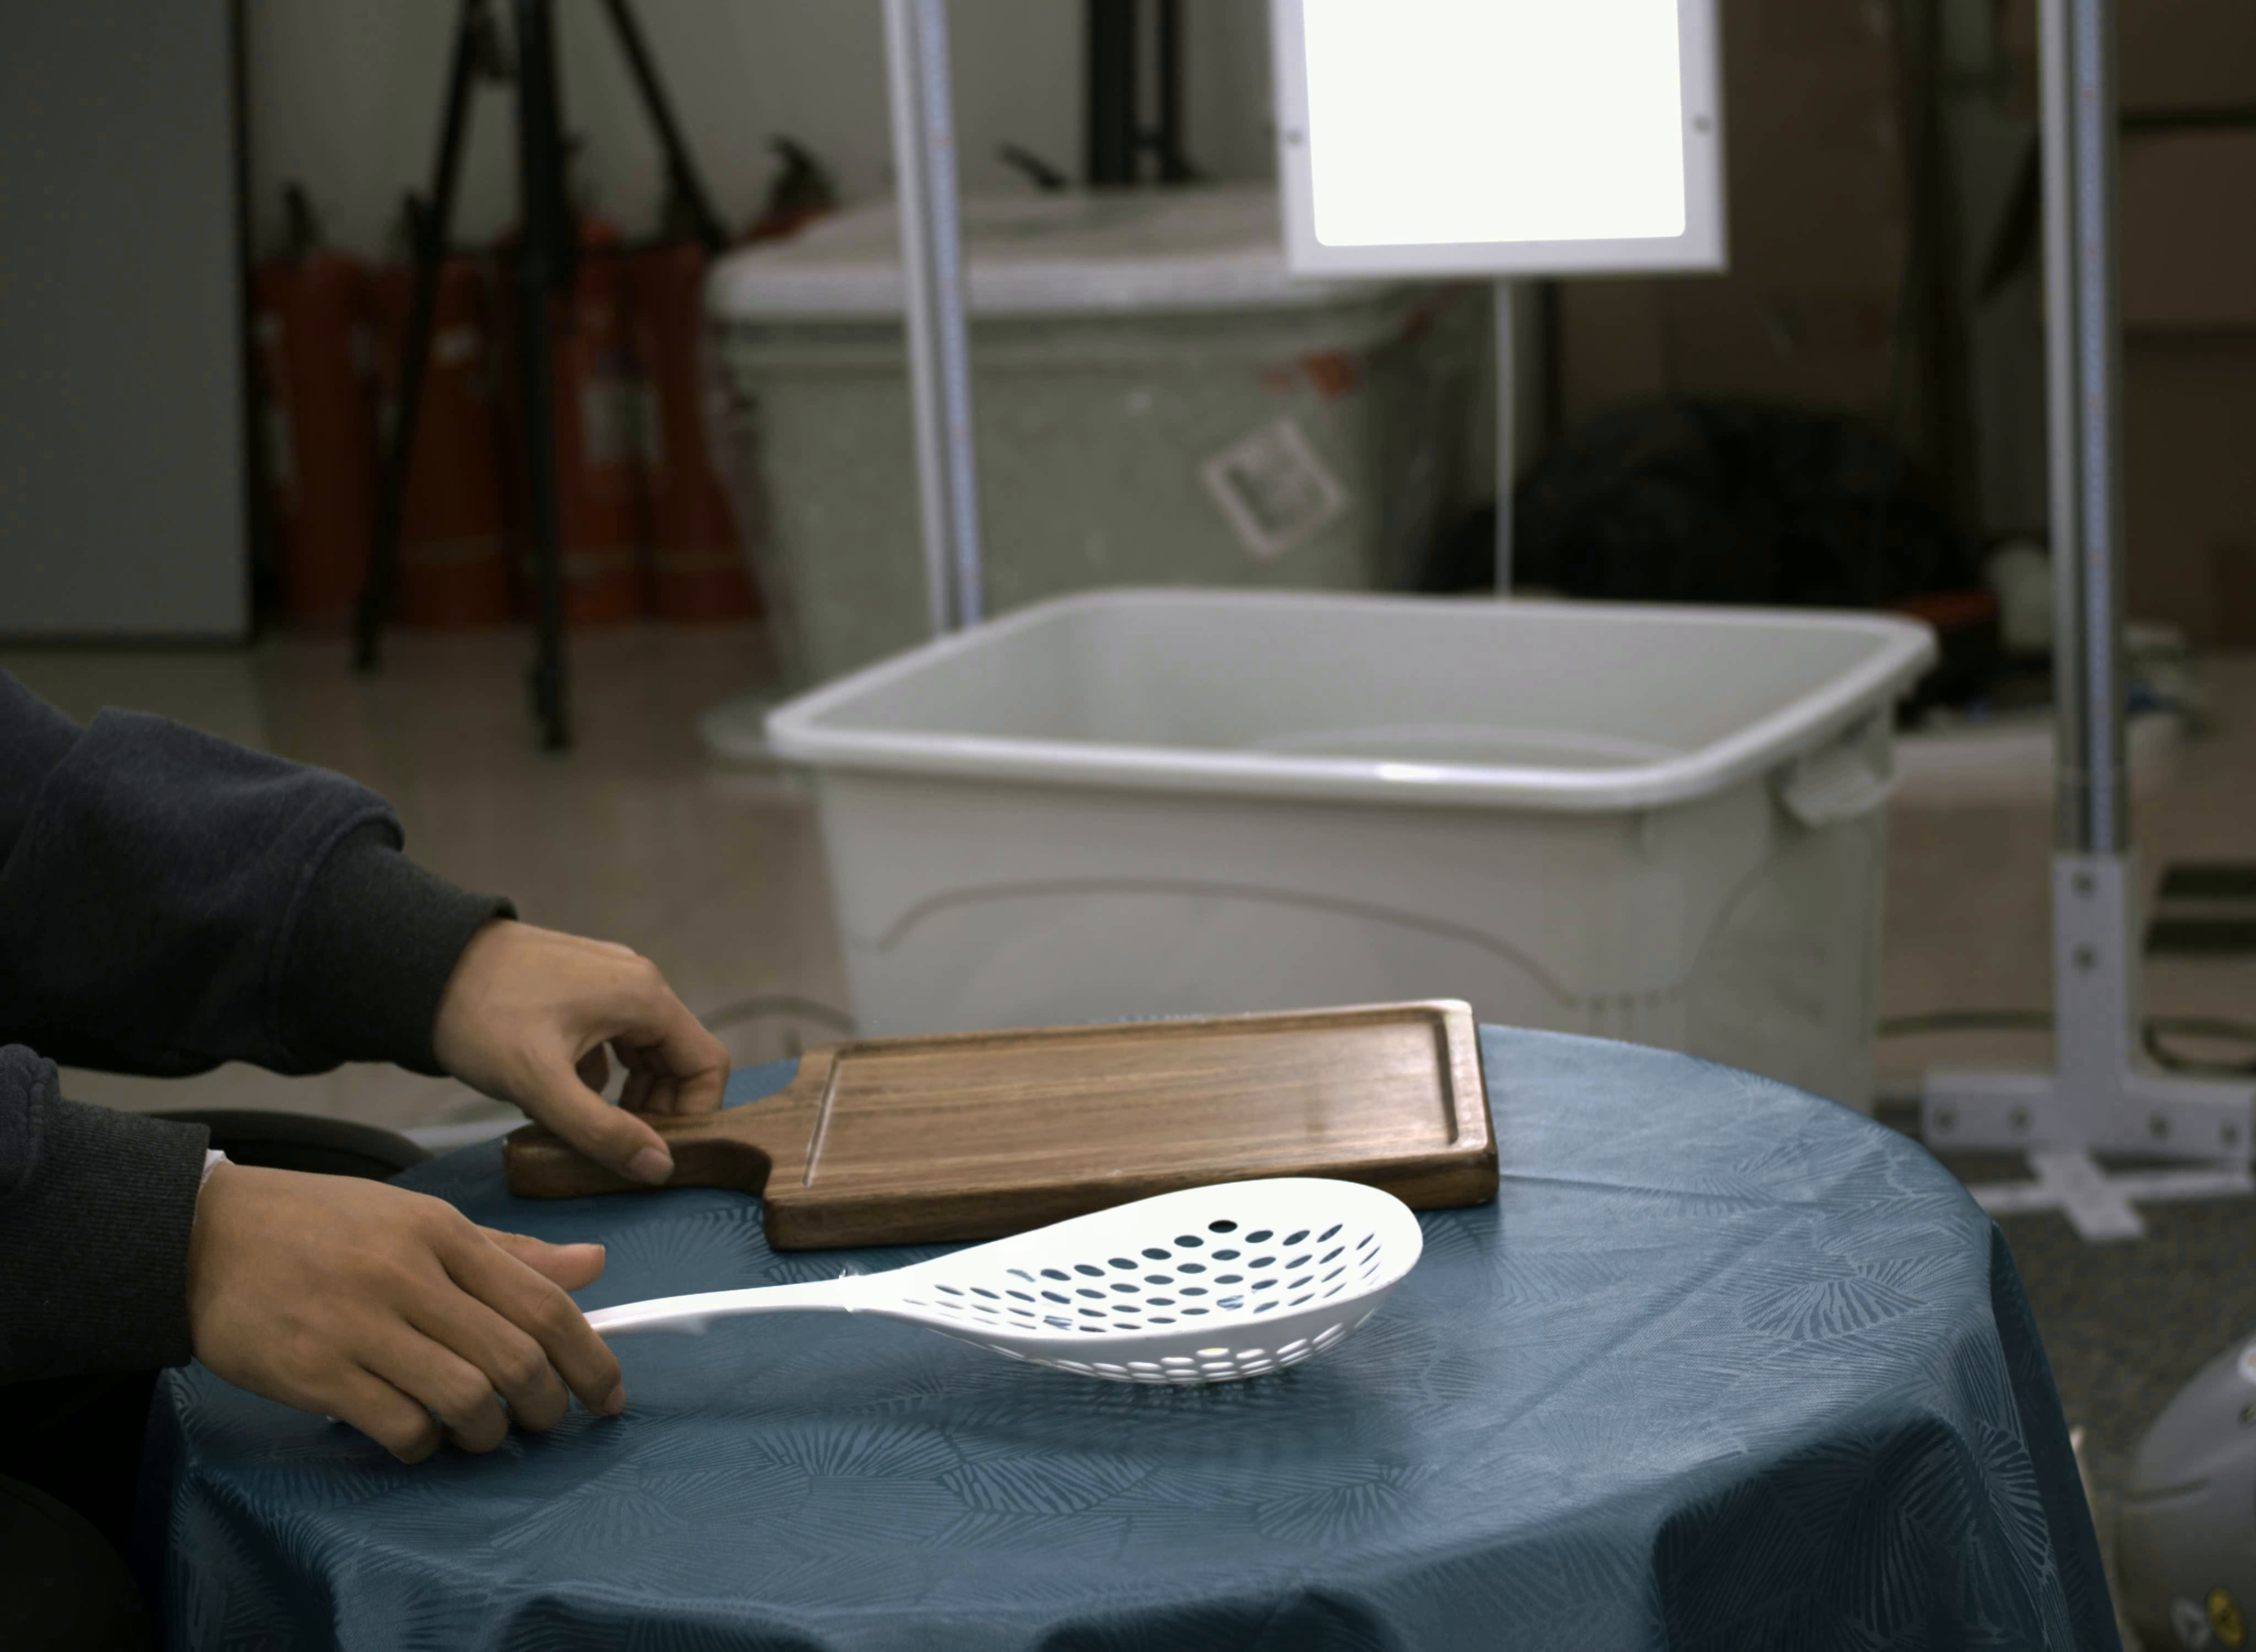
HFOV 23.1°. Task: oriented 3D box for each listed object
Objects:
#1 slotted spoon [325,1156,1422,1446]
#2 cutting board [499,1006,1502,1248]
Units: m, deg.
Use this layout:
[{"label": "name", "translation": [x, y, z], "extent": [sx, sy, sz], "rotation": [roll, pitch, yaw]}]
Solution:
[{"label": "slotted spoon", "translation": [-0.080, 0.156, 1.720], "extent": [0.348, 0.050, 0.136], "rotation": [-4, 16, 4]}, {"label": "cutting board", "translation": [-0.048, 0.107, 1.950], "extent": [0.352, 0.023, 0.200], "rotation": [-4, 13, 4]}]
